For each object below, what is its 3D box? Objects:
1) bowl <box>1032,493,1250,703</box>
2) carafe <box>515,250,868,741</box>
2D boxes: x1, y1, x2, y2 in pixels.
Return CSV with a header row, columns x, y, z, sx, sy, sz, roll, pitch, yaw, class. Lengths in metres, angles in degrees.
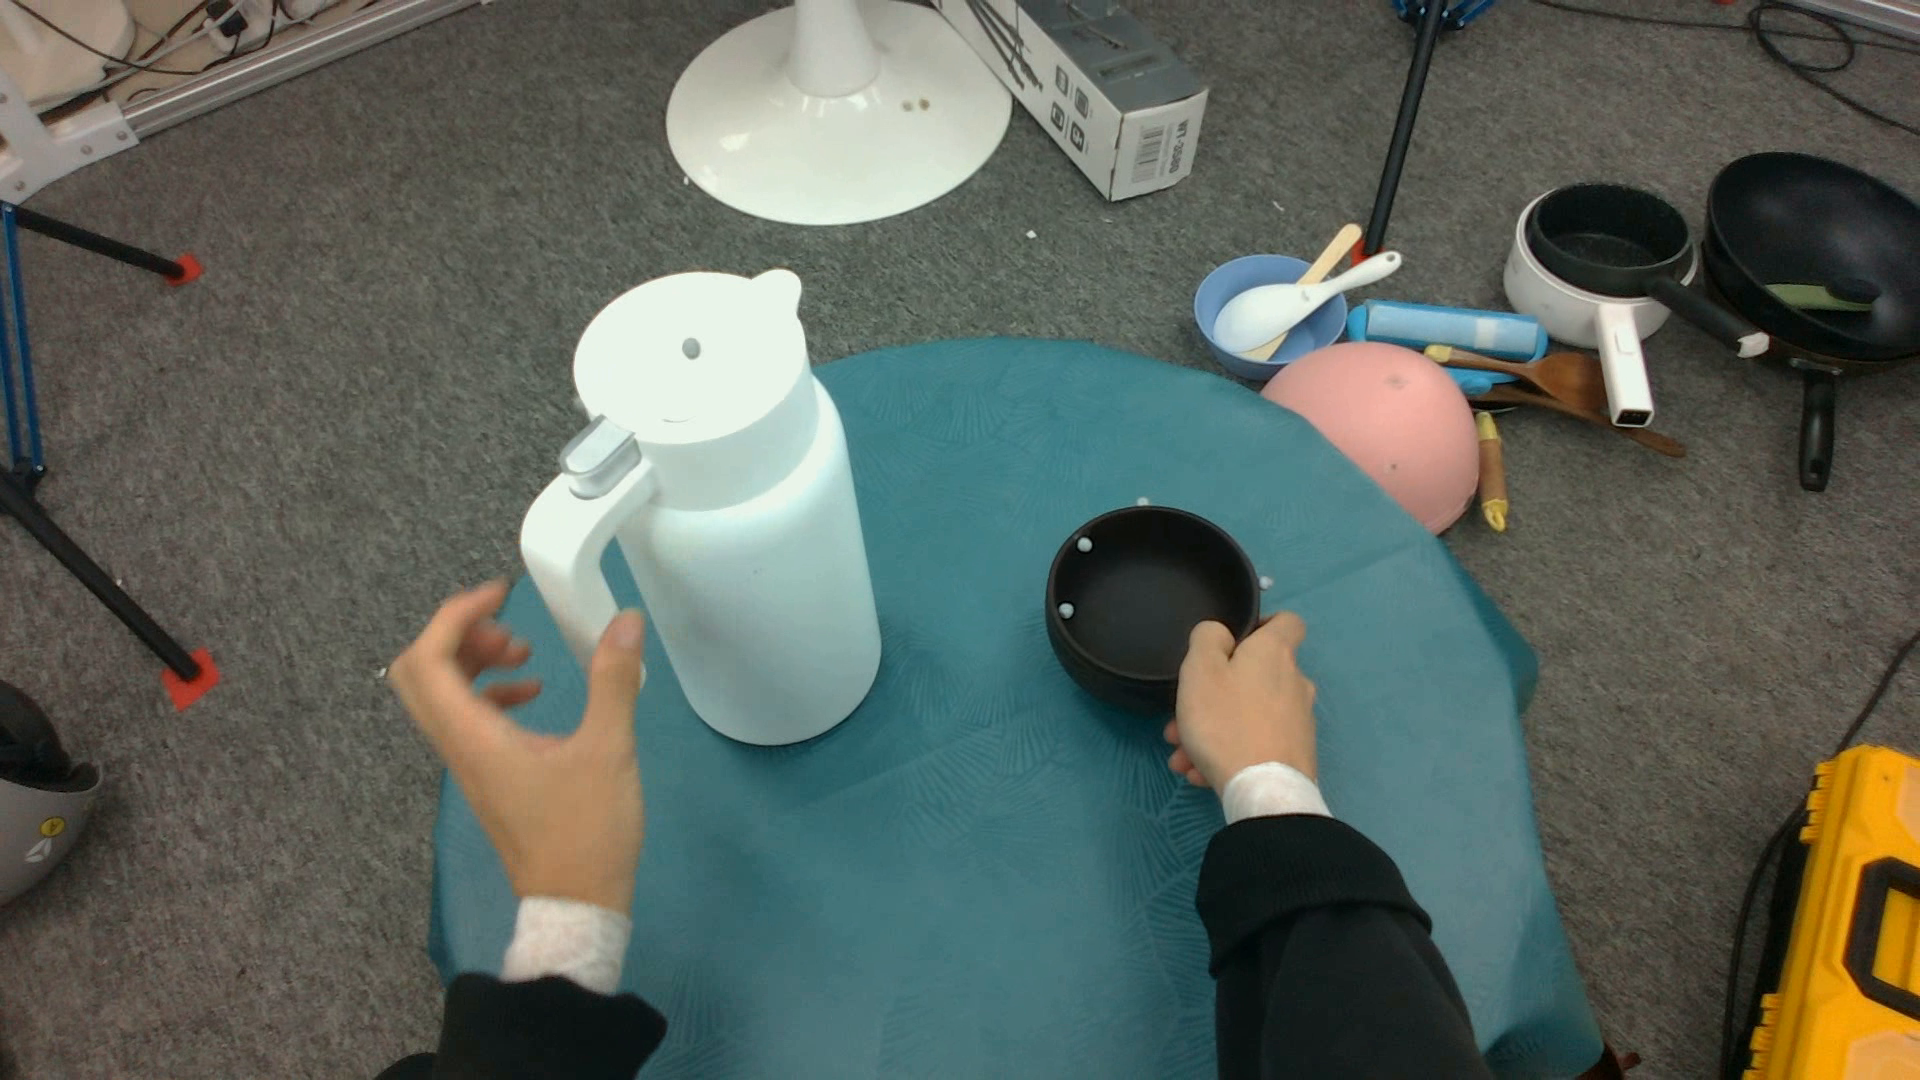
x,y,z,sx,sy,sz,roll,pitch,yaw,class
0.099,0.039,0.770,0.118,0.069,0.118,-1,55,2,bowl
-0.124,0.005,0.686,0.124,0.267,0.173,27,60,17,carafe
